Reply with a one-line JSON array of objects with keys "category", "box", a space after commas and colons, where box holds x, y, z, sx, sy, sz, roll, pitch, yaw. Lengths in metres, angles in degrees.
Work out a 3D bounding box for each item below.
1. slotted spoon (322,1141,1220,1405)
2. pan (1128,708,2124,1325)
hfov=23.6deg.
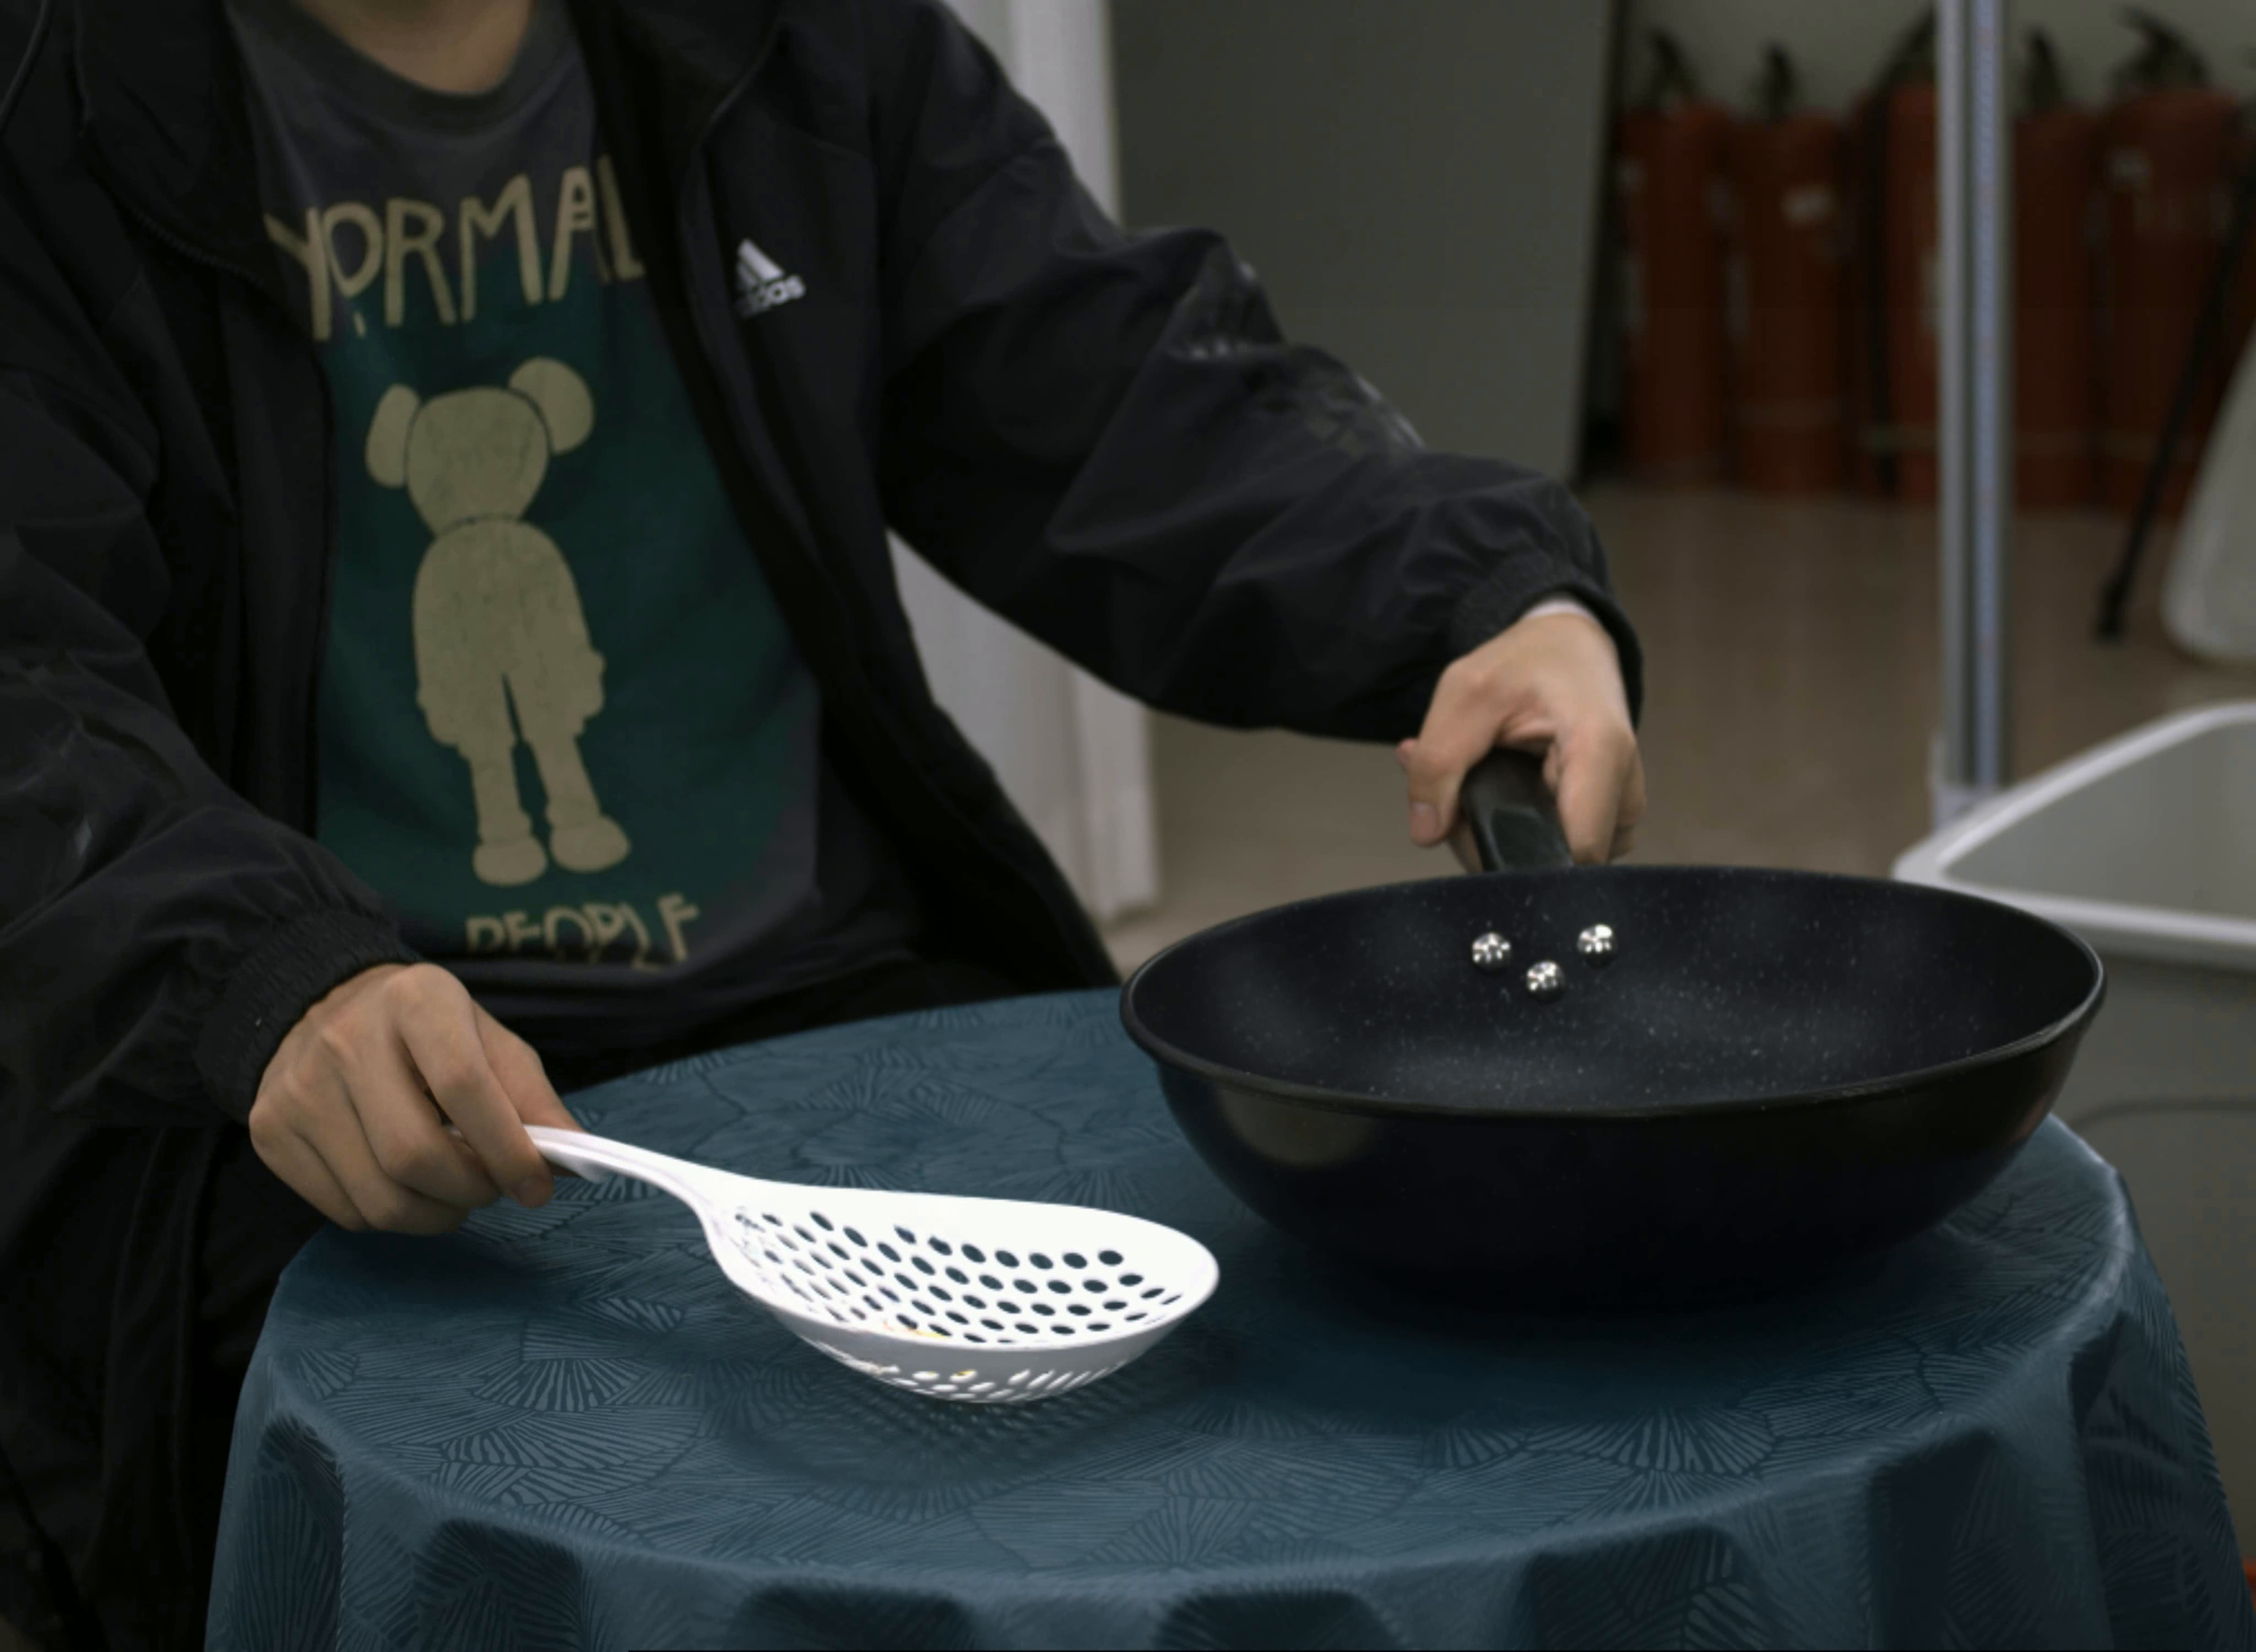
[{"category": "slotted spoon", "box": [-0.124, 0.124, 1.657, 0.351, 0.051, 0.134, 16, 22, 40]}, {"category": "pan", "box": [0.147, 0.061, 1.754, 0.305, 0.113, 0.478, -3, 12, -4]}]
